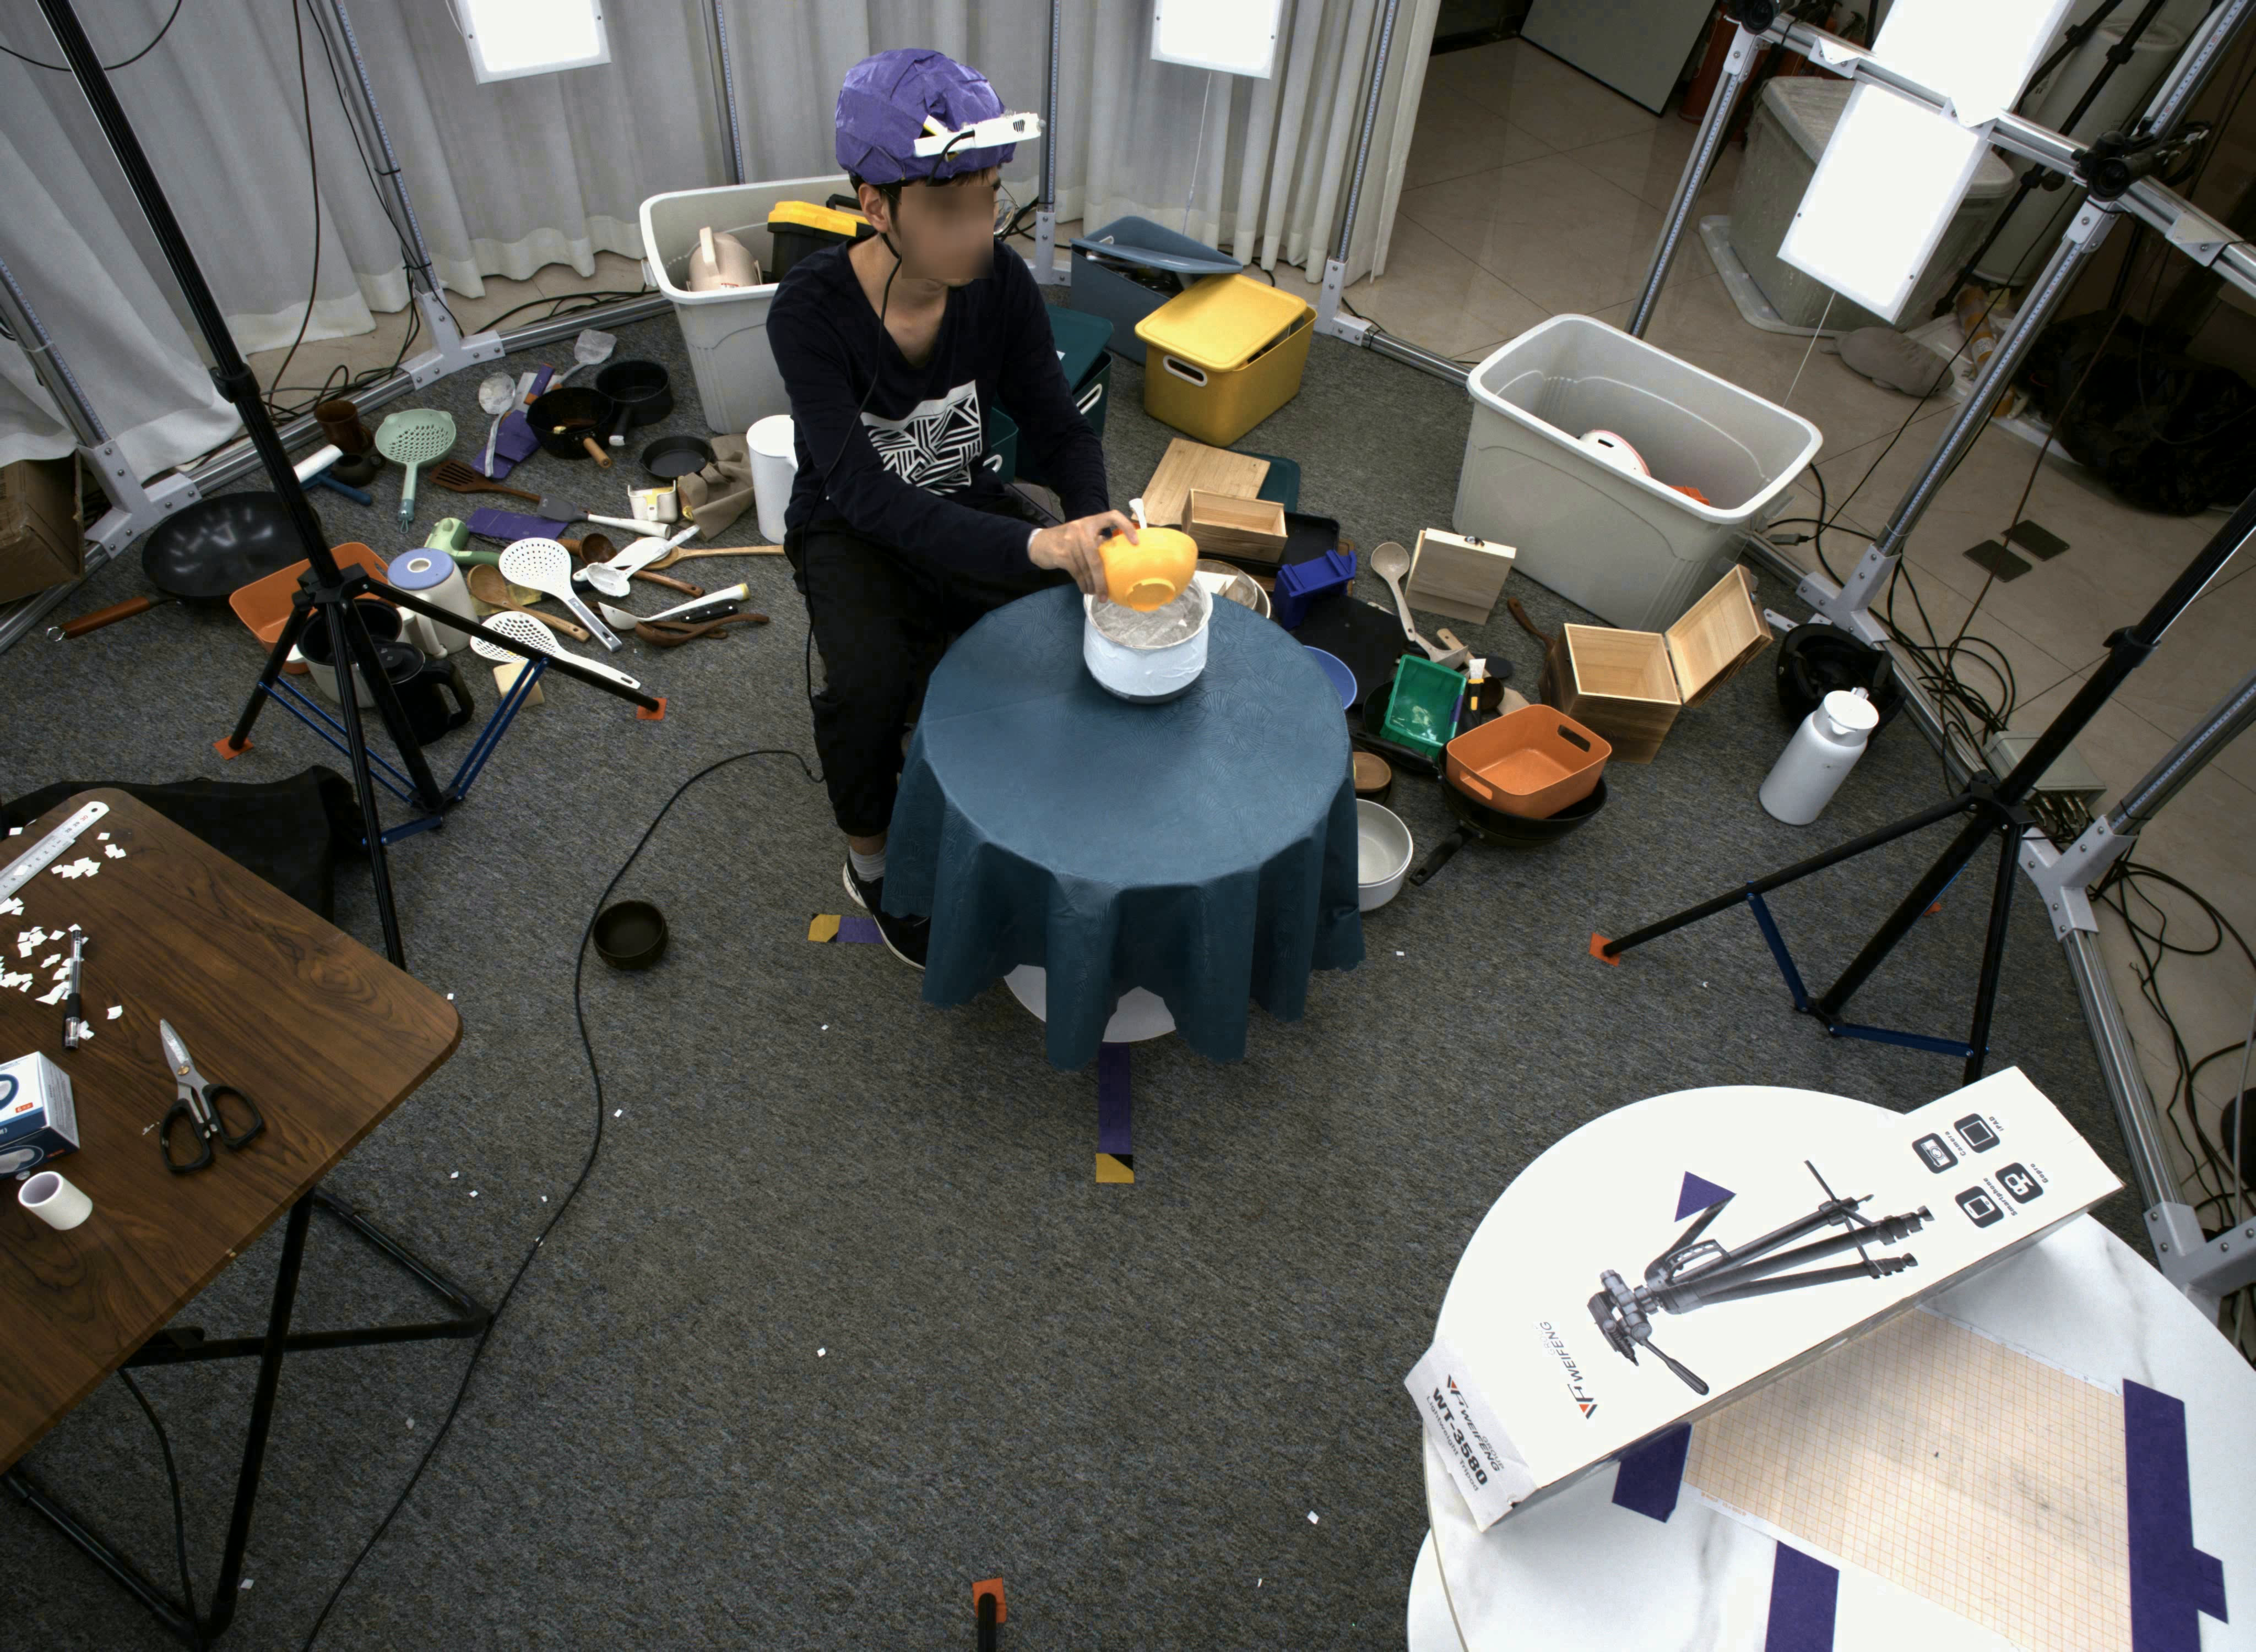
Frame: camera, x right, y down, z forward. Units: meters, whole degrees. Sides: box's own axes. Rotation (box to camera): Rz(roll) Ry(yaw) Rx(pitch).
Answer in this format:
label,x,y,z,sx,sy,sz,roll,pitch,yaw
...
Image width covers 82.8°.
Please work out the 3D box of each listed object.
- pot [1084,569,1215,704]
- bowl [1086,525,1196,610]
label,x,y,z,sx,sy,sz,roll,pitch,yaw
pot,0.018,-0.293,1.824,0.179,0.133,0.239,-14,56,-14
bowl,0.020,-0.323,1.667,0.145,0.143,0.061,-4,67,-8
